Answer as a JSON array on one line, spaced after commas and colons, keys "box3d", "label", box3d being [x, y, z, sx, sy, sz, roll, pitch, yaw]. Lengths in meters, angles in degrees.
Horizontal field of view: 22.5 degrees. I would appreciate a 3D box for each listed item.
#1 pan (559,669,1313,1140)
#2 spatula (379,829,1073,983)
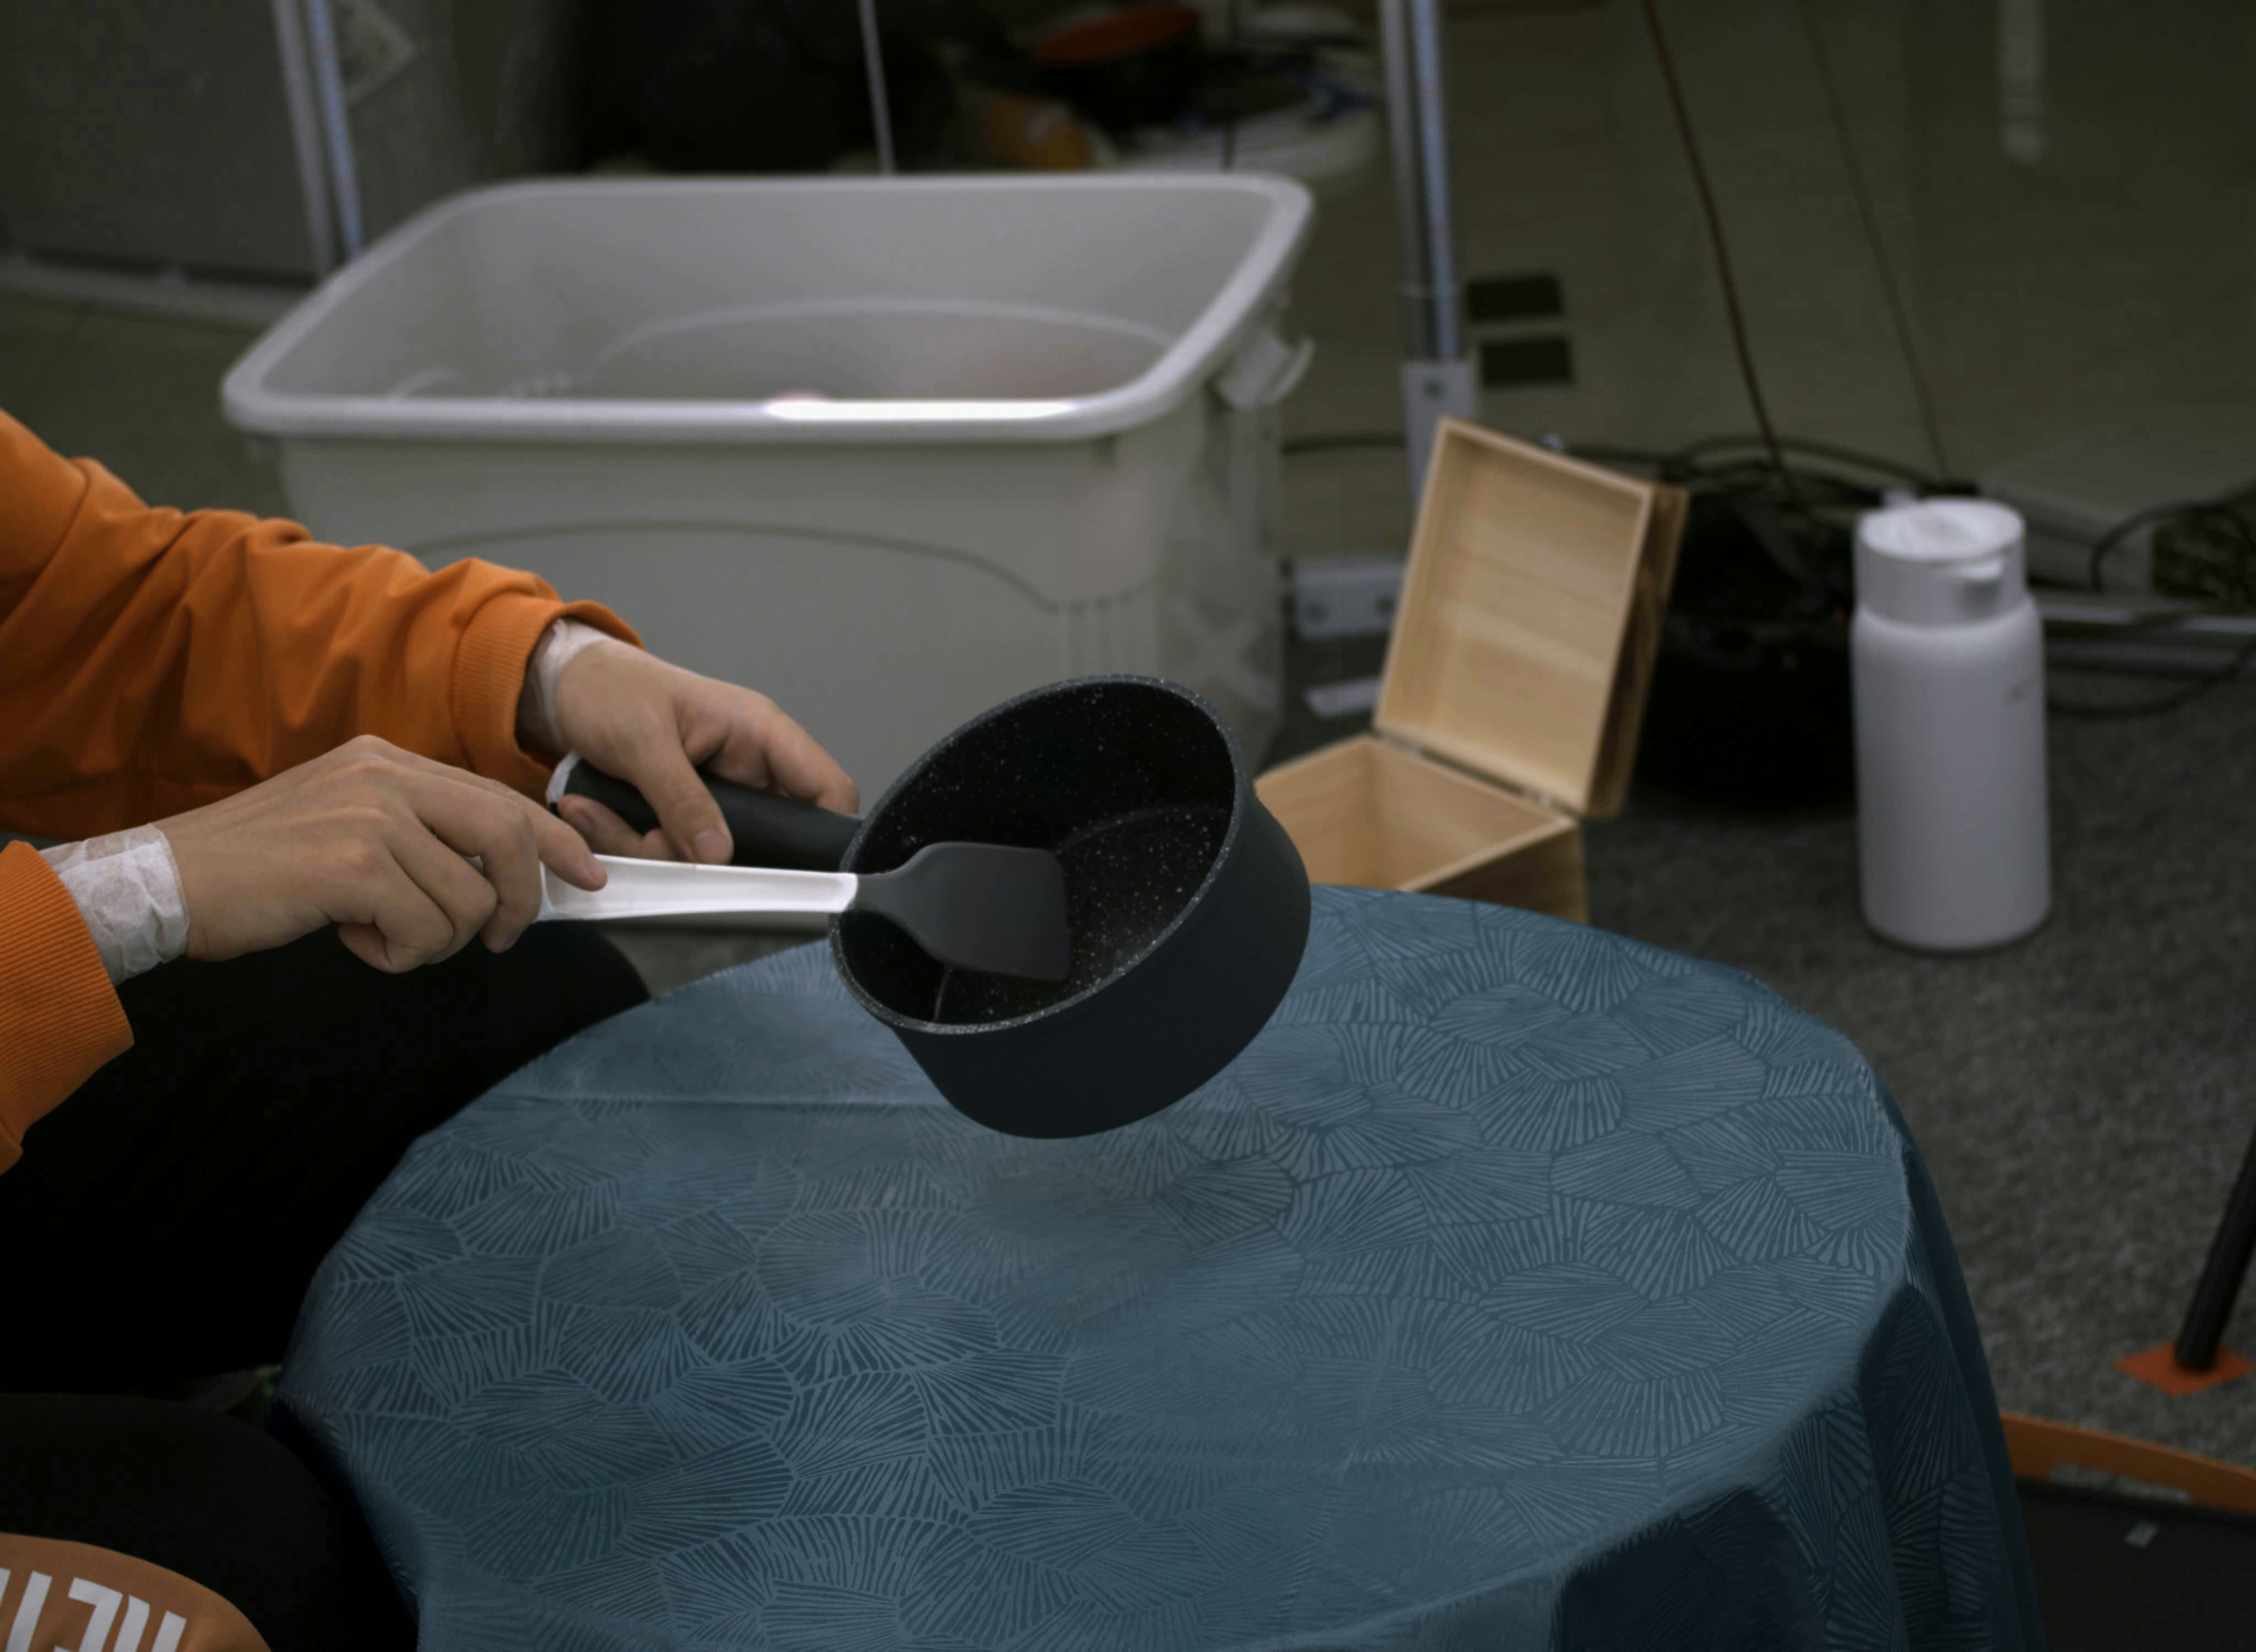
[{"box3d": [-0.080, 0.019, 2.156, 0.327, 0.088, 0.170, 12, 58, 39], "label": "pan"}, {"box3d": [-0.137, 0.024, 2.068, 0.288, 0.058, 0.032, 3, -21, -33], "label": "spatula"}]
